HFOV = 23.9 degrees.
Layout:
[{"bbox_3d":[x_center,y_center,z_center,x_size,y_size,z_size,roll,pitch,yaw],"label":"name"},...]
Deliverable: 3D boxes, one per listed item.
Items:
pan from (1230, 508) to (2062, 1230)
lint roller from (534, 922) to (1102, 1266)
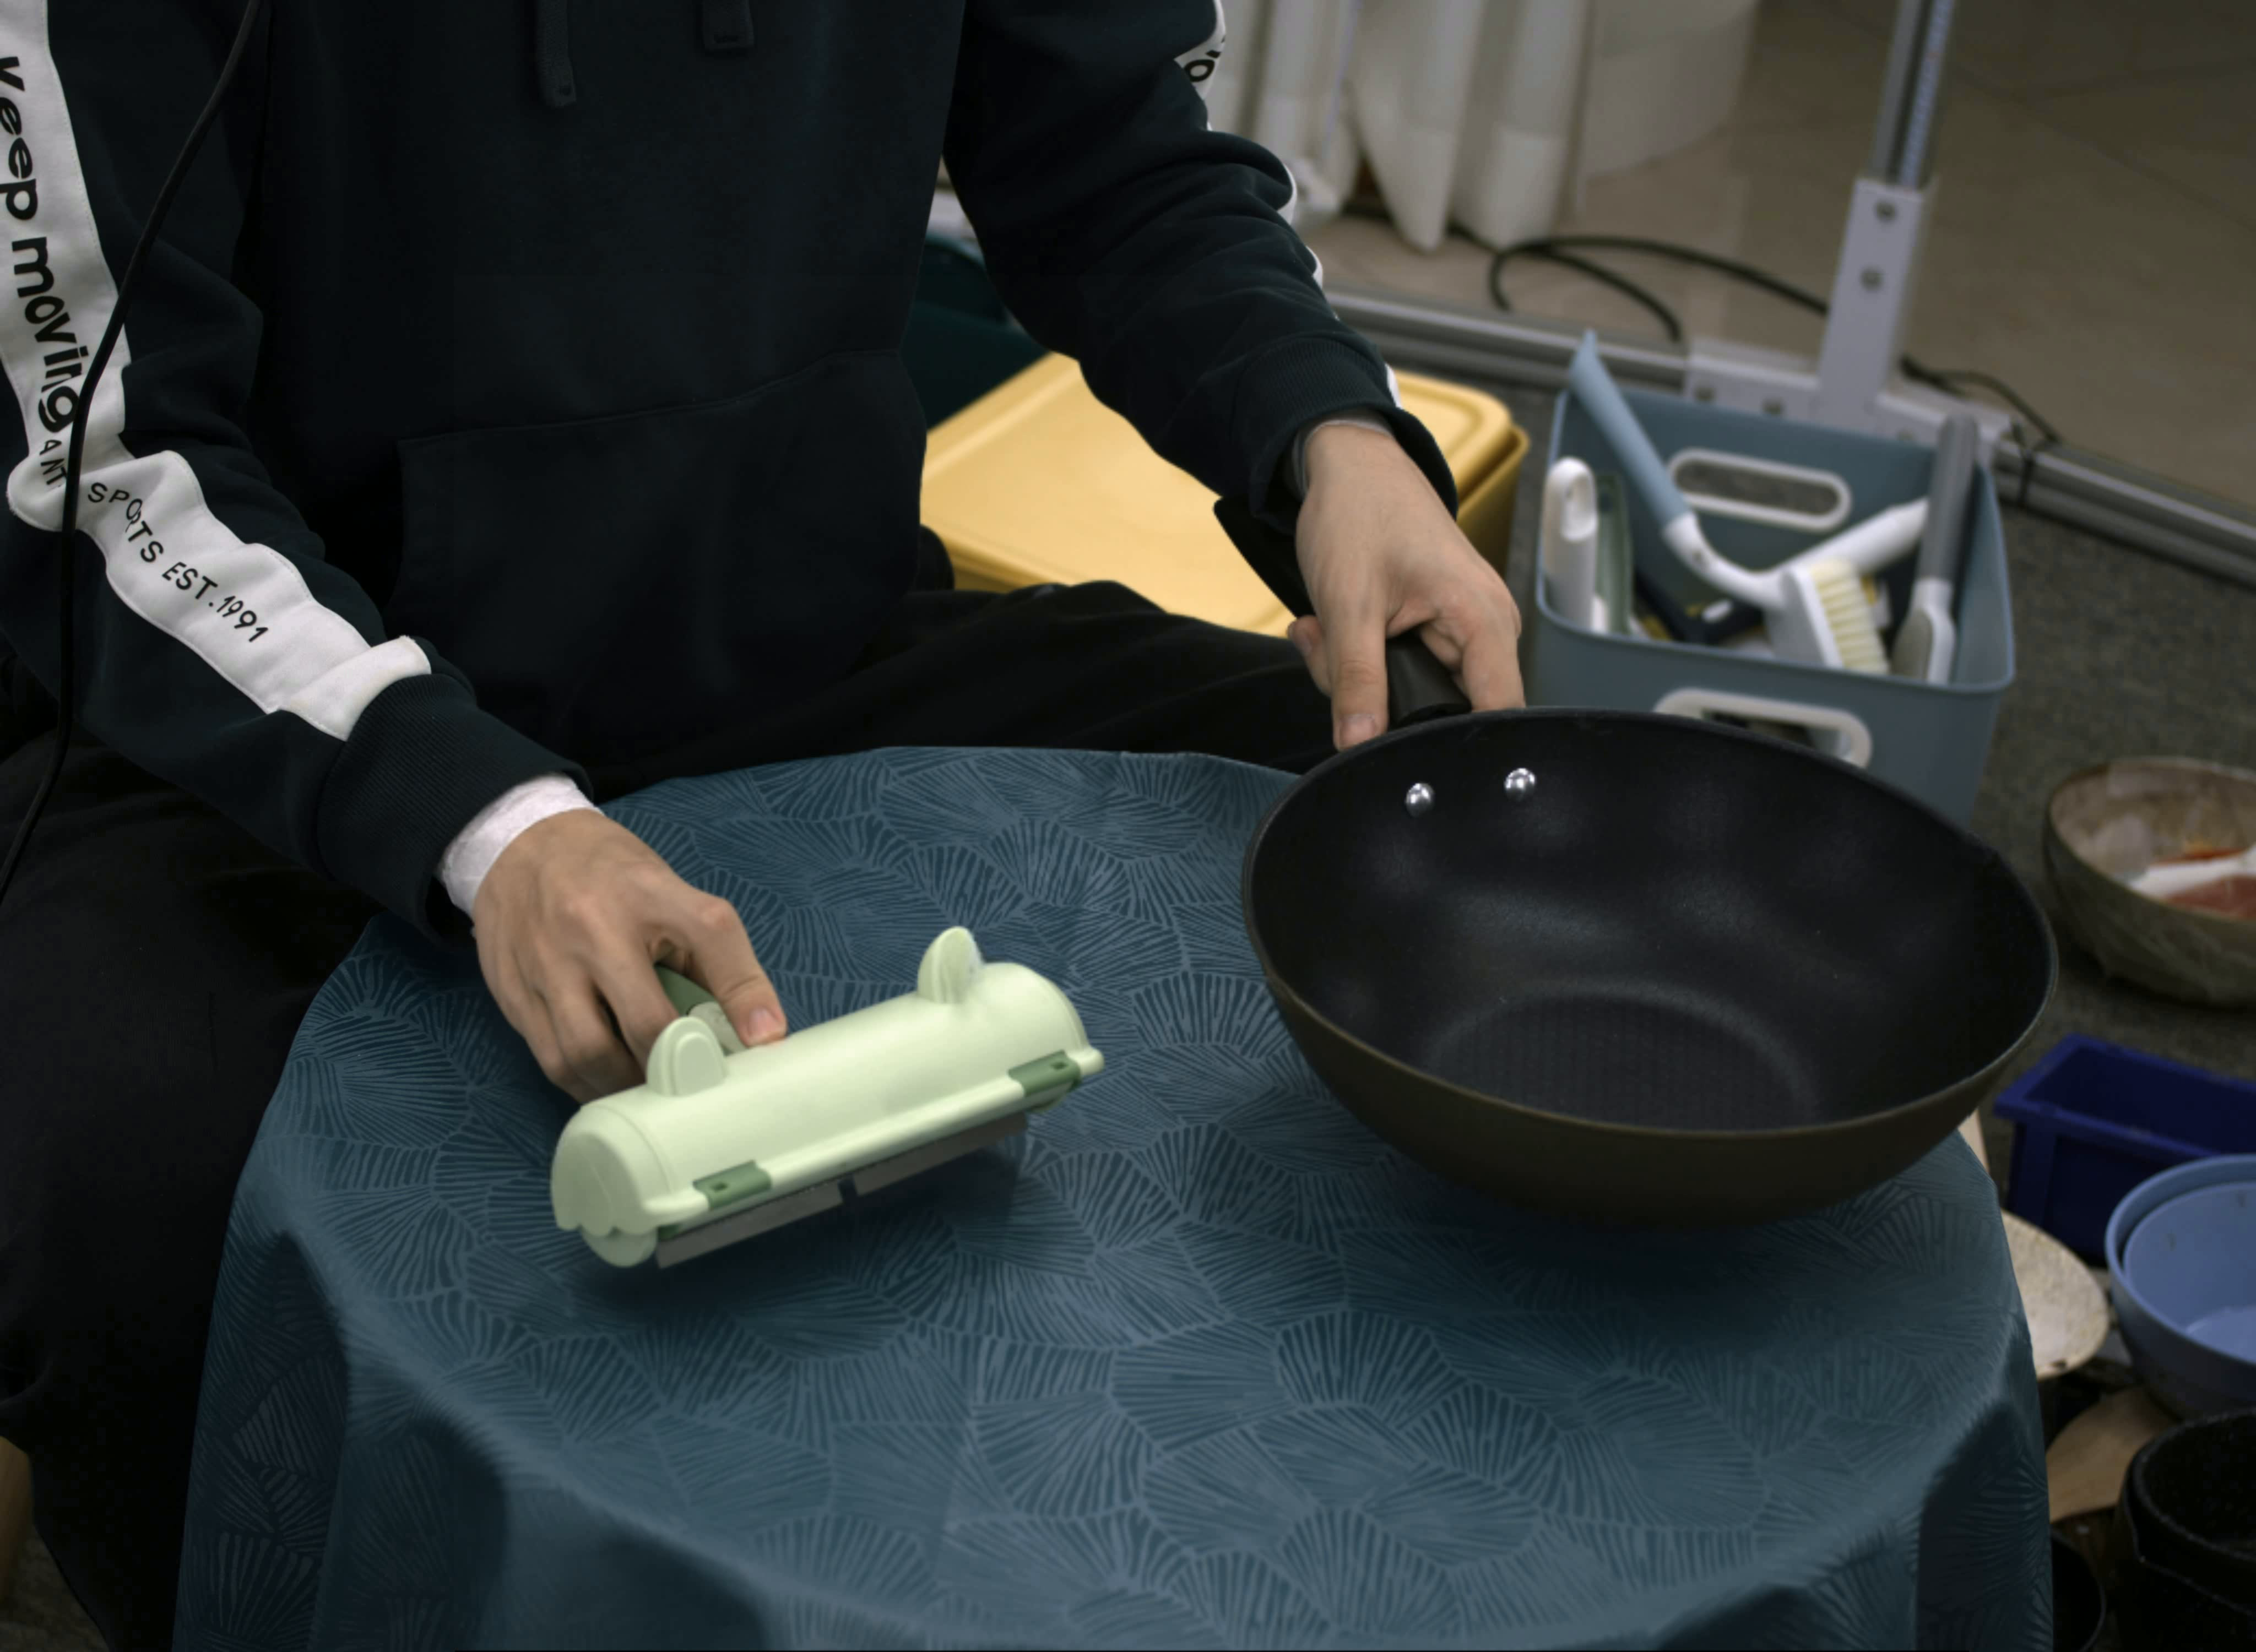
[{"bbox_3d":[0.136,0.017,1.905,0.286,0.086,0.467,-9,32,-24],"label":"pan"},{"bbox_3d":[-0.136,0.061,1.769,0.197,0.082,0.185,-18,39,-40],"label":"lint roller"}]
